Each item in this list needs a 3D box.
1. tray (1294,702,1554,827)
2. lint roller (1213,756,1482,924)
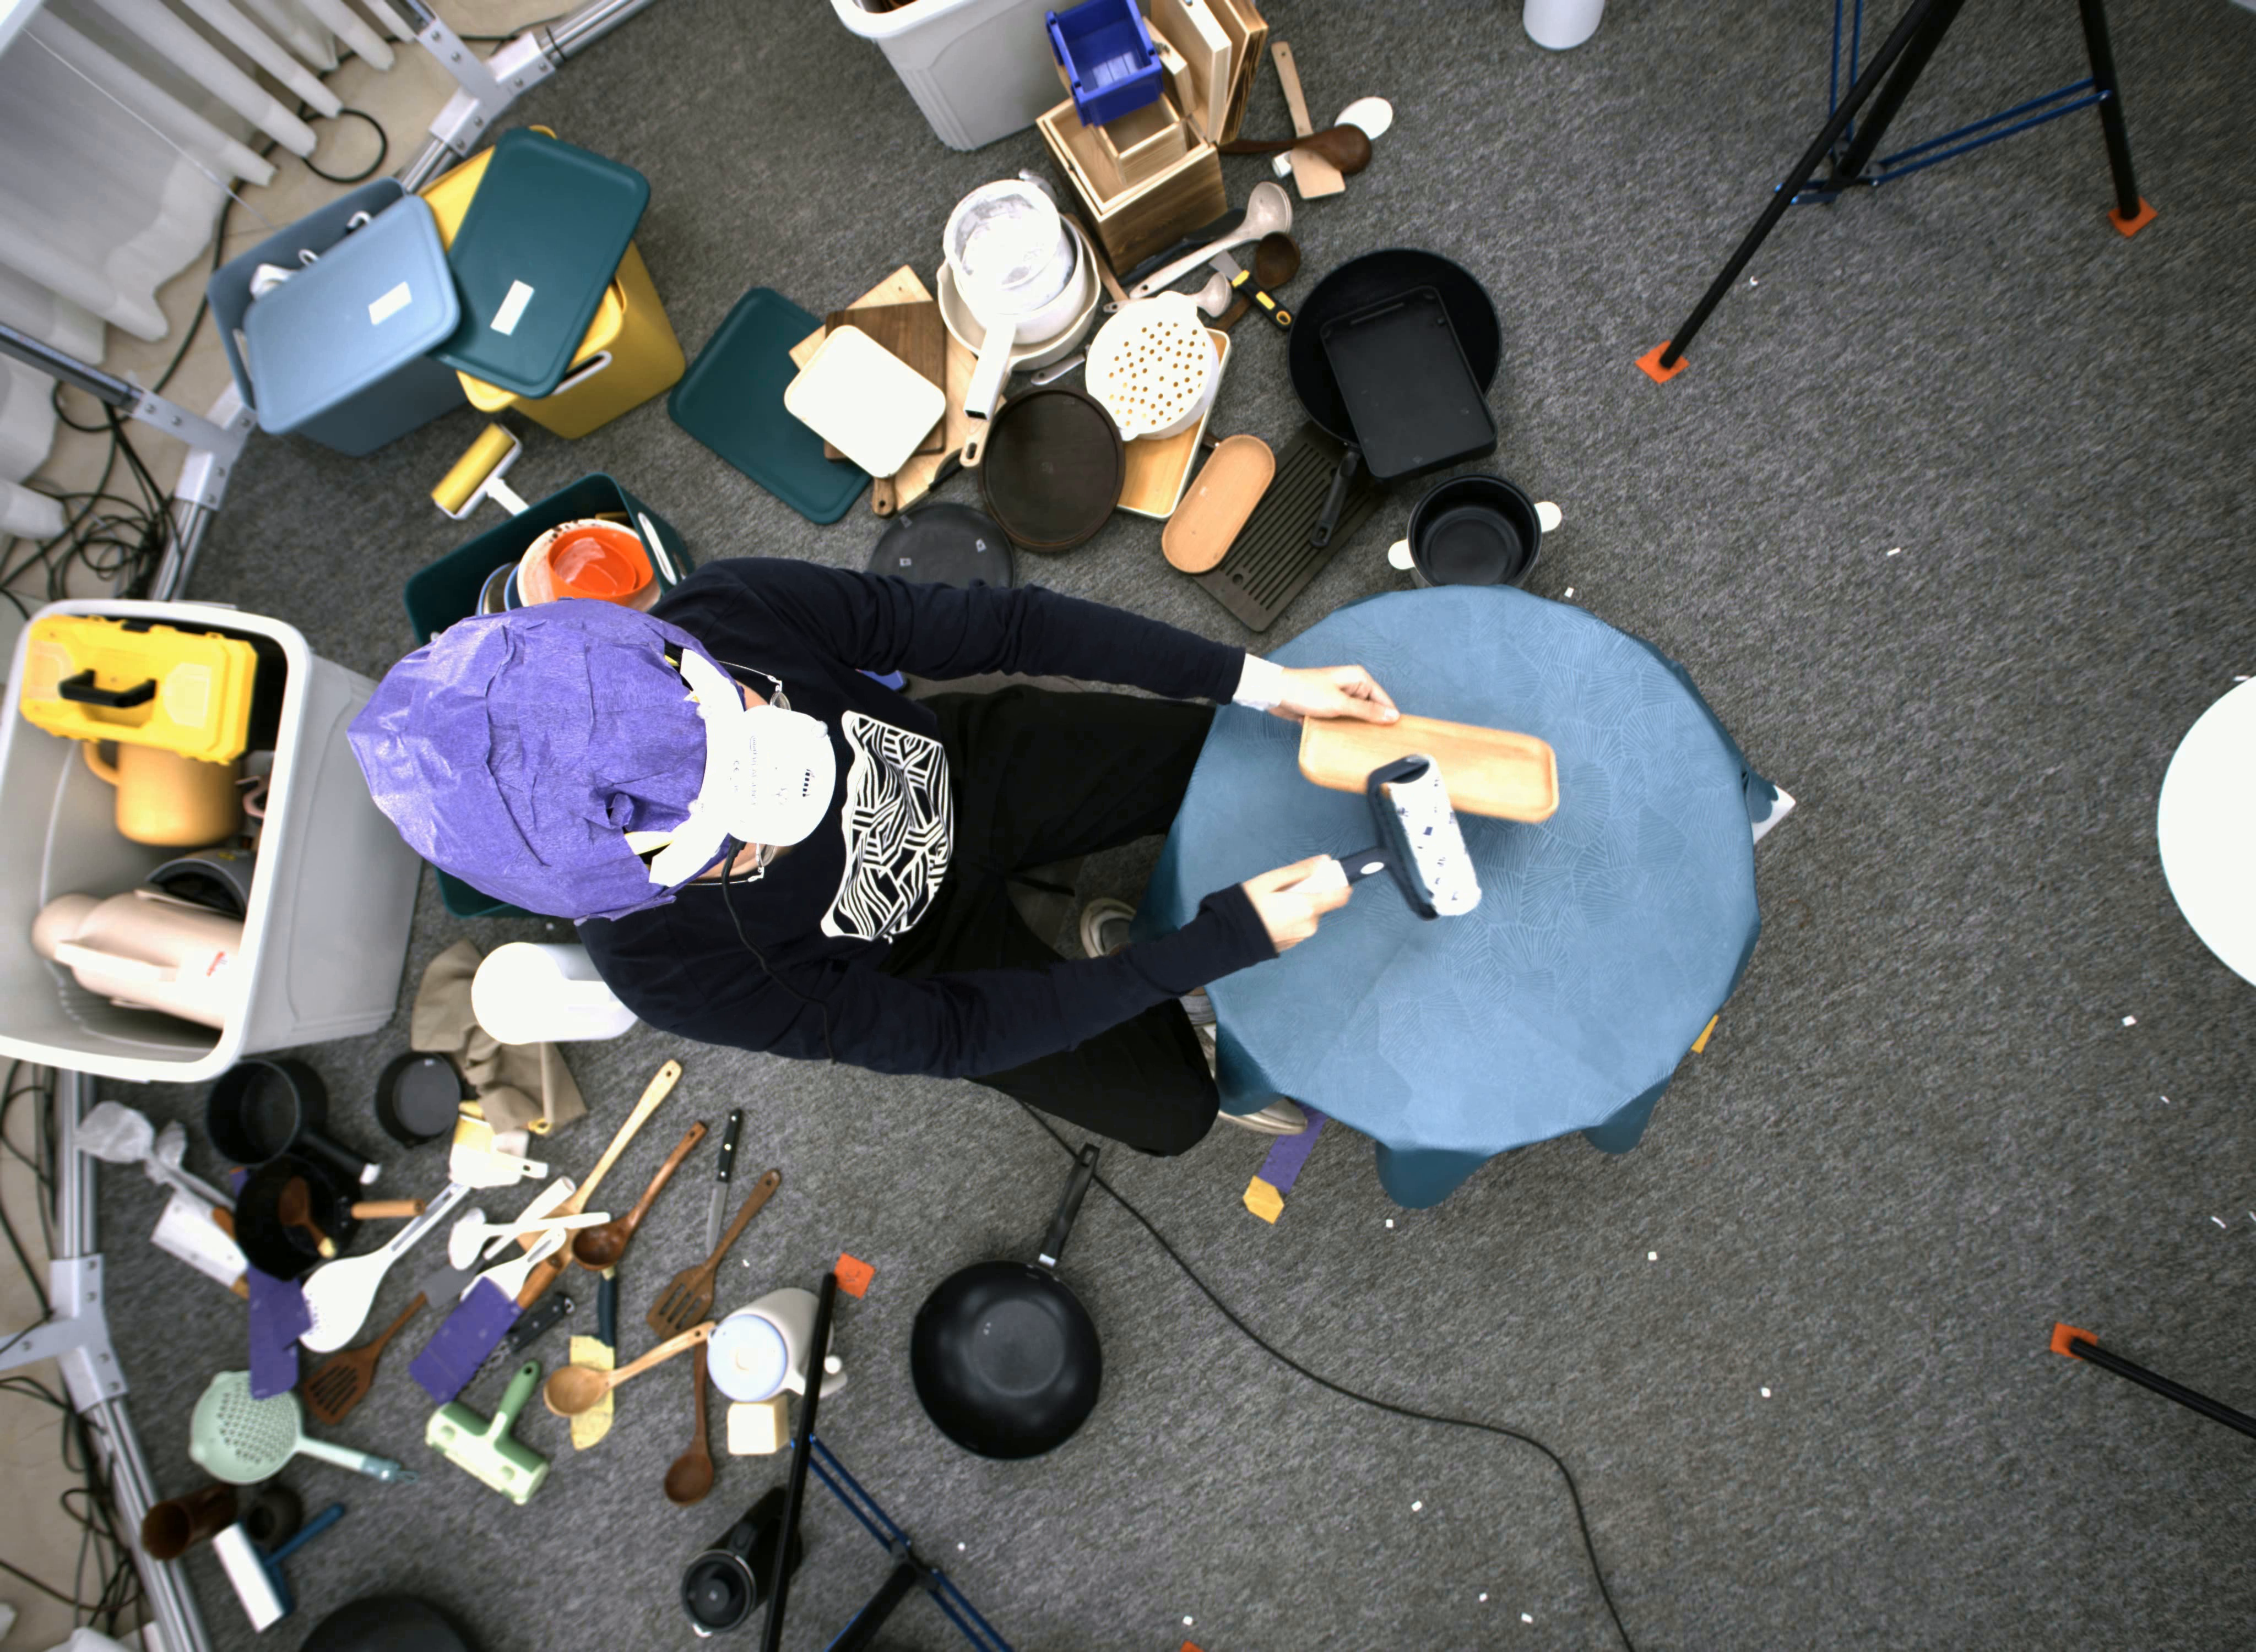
[{"bbox_3d":[0.288,-0.062,1.340,0.251,0.127,0.023,11,130,7],"label":"tray"},{"bbox_3d":[0.198,0.048,1.307,0.249,0.049,0.179,-22,123,11],"label":"lint roller"}]
